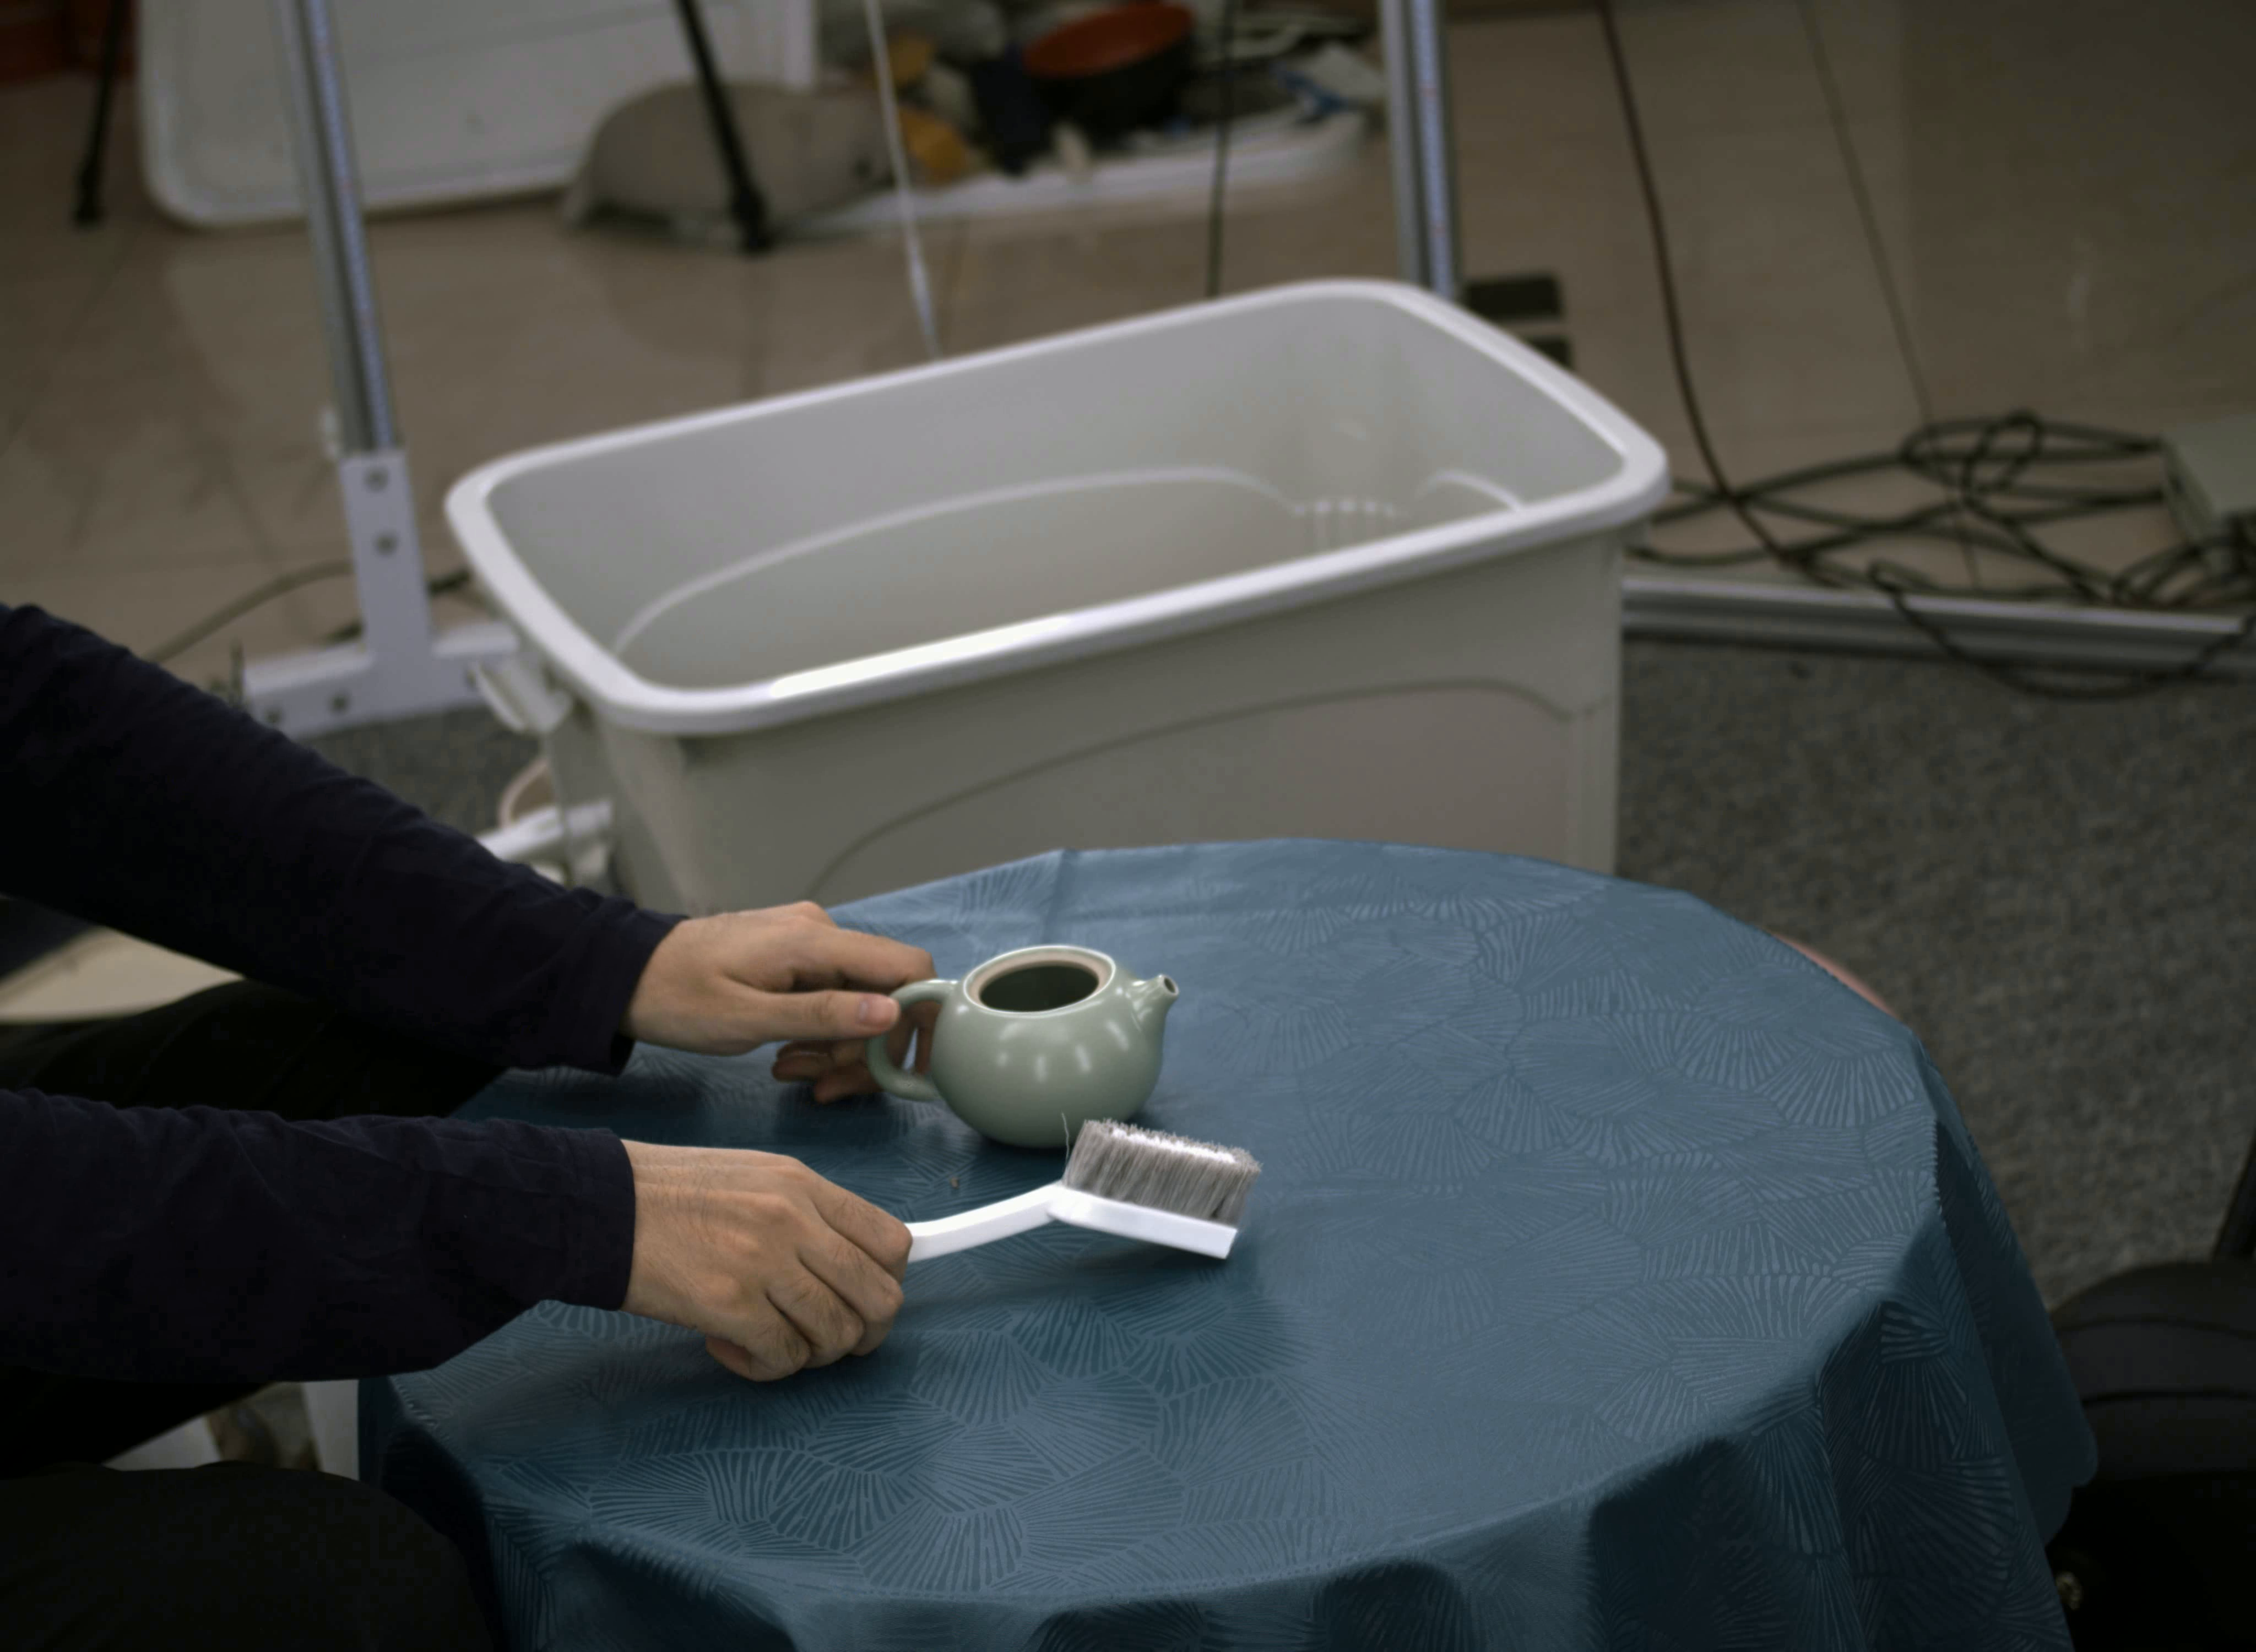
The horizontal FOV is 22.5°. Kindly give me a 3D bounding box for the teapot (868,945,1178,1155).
[{"bbox_3d":[-0.040,0.088,2.200,0.128,0.062,0.090,1,32,17],"label":"teapot"}]

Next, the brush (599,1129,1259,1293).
[{"bbox_3d":[-0.073,0.141,2.080,0.243,0.051,0.034,-3,22,-5],"label":"brush"}]
